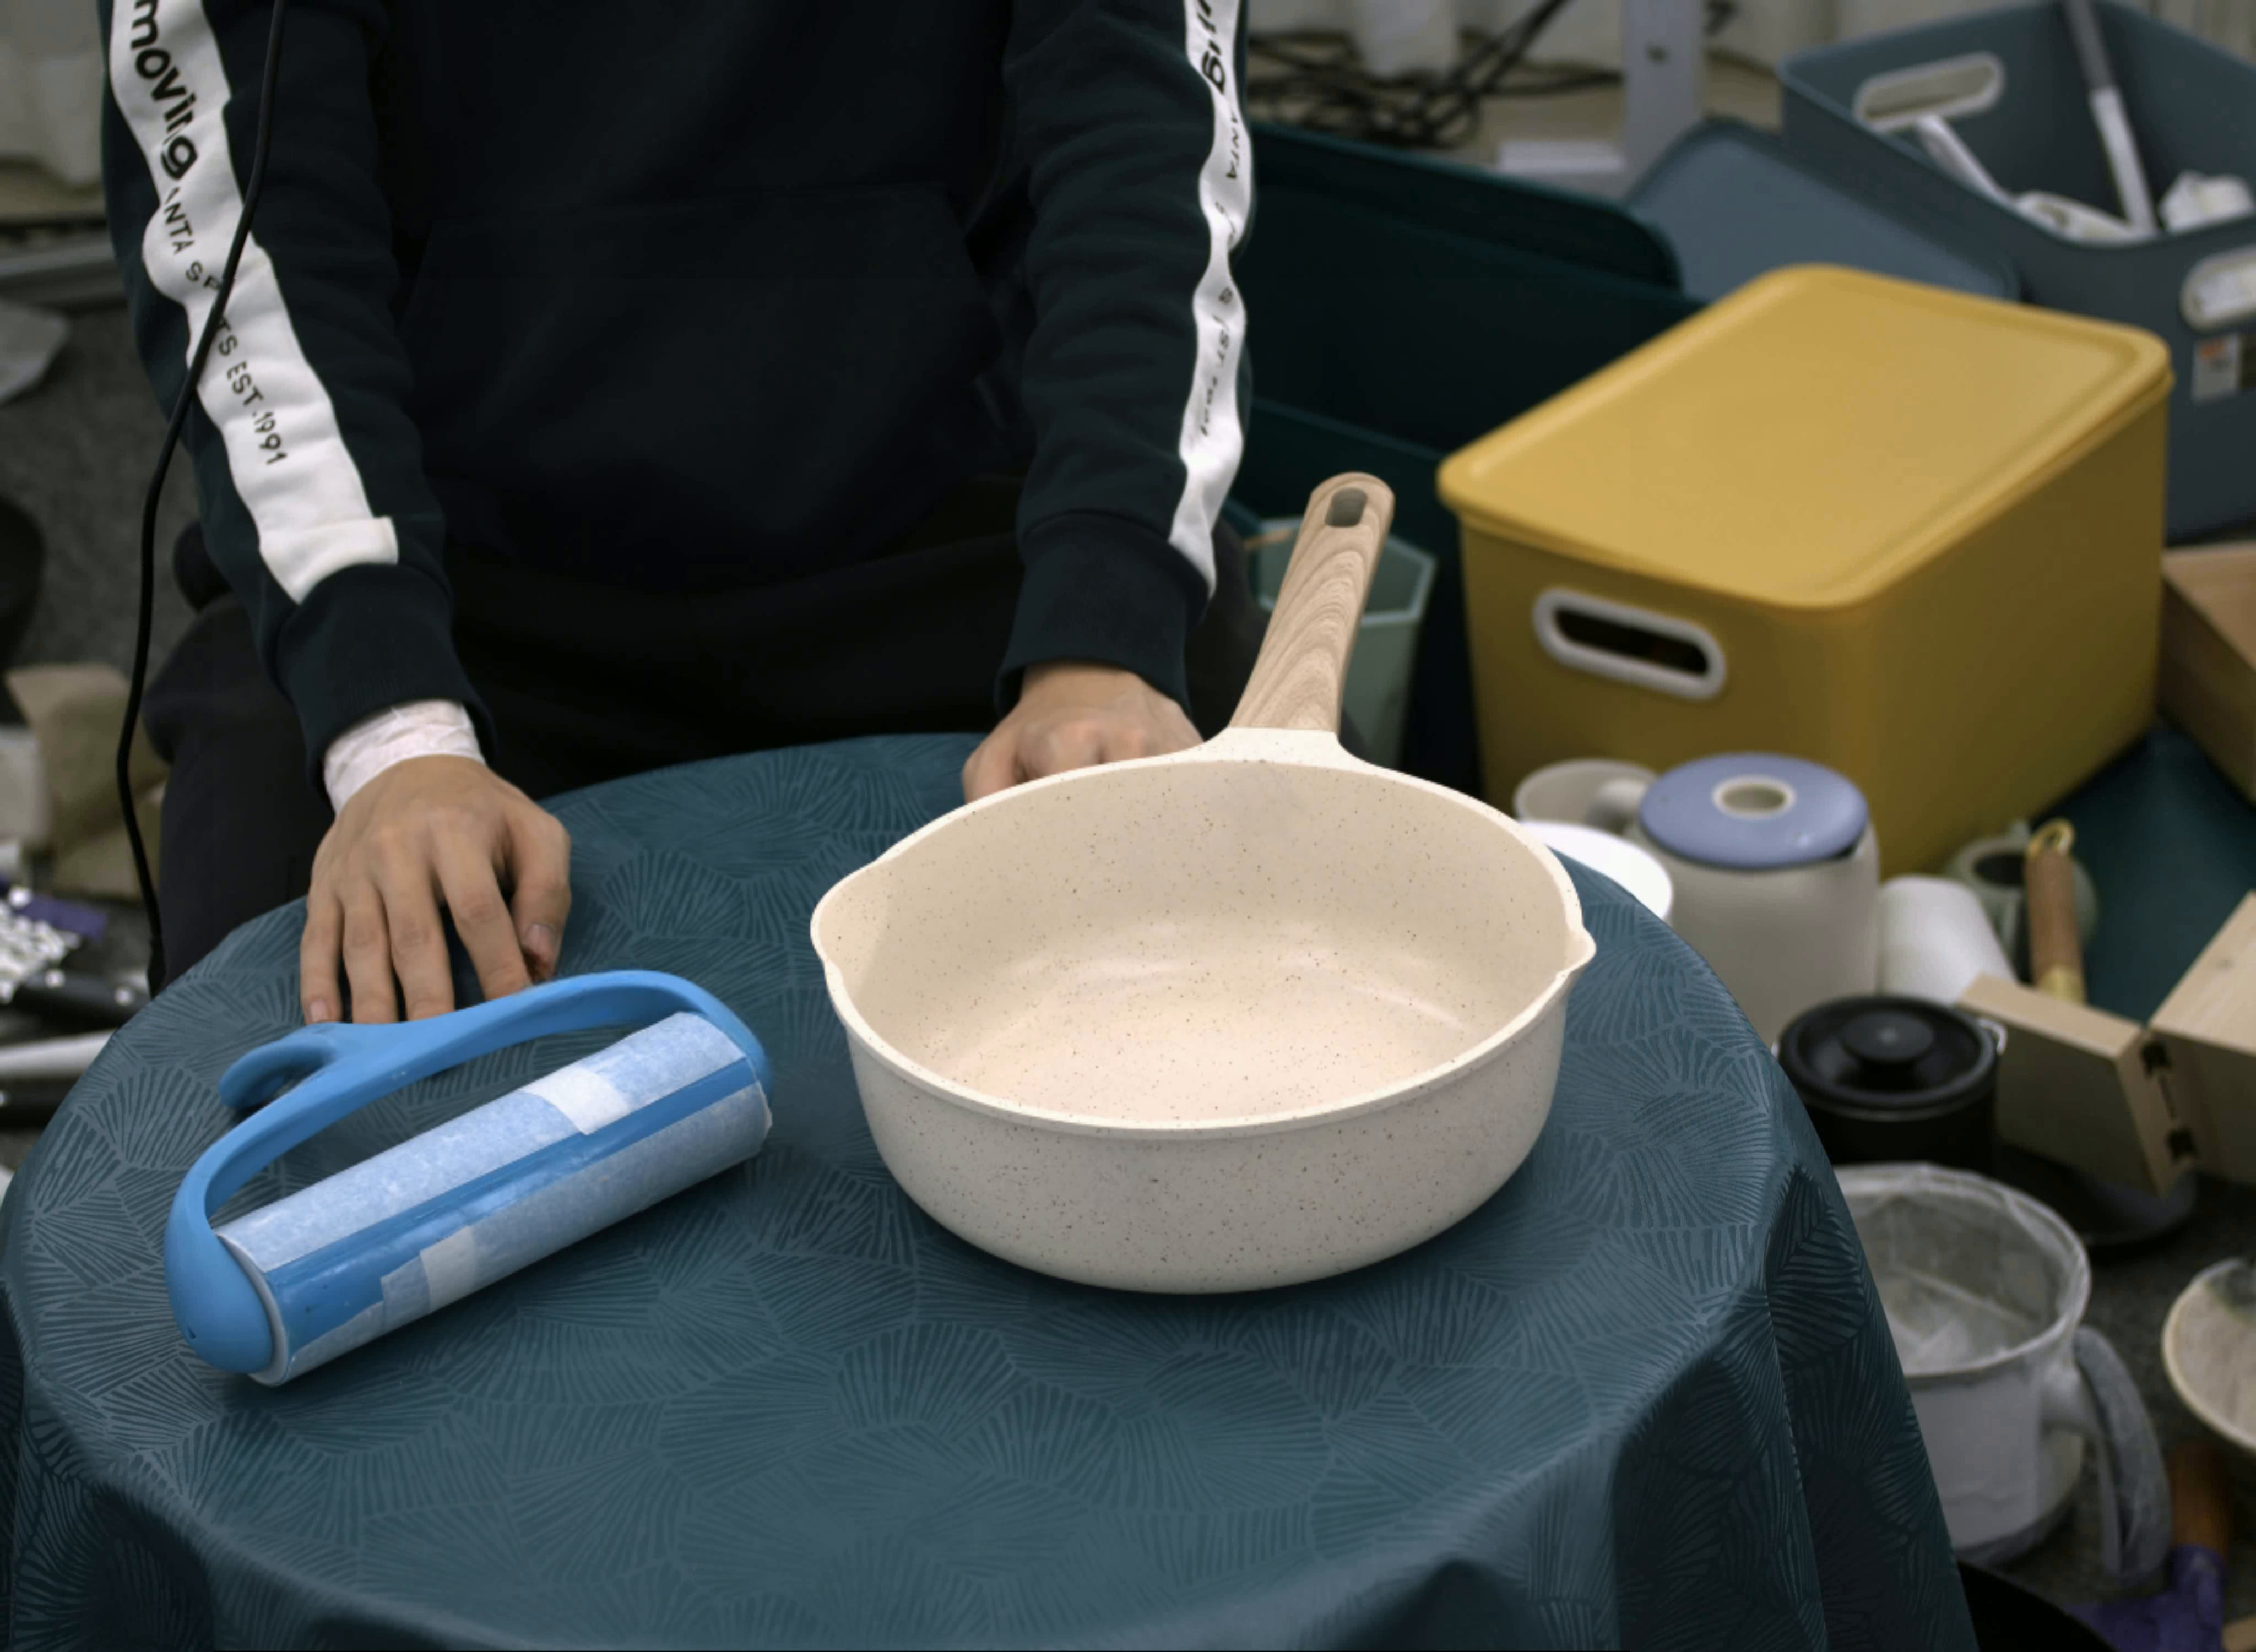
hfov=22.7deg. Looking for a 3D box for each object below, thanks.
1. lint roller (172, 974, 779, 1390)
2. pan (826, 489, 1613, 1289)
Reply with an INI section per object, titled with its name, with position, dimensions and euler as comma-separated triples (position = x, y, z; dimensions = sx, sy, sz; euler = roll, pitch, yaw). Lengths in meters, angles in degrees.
[lint roller]
position = -0.248, 0.101, 1.862
dimensions = 0.180, 0.067, 0.232
euler = 22, 38, 40
[pan]
position = 0.048, 0.019, 1.946
dimensions = 0.261, 0.101, 0.442
euler = 1, 27, 11
